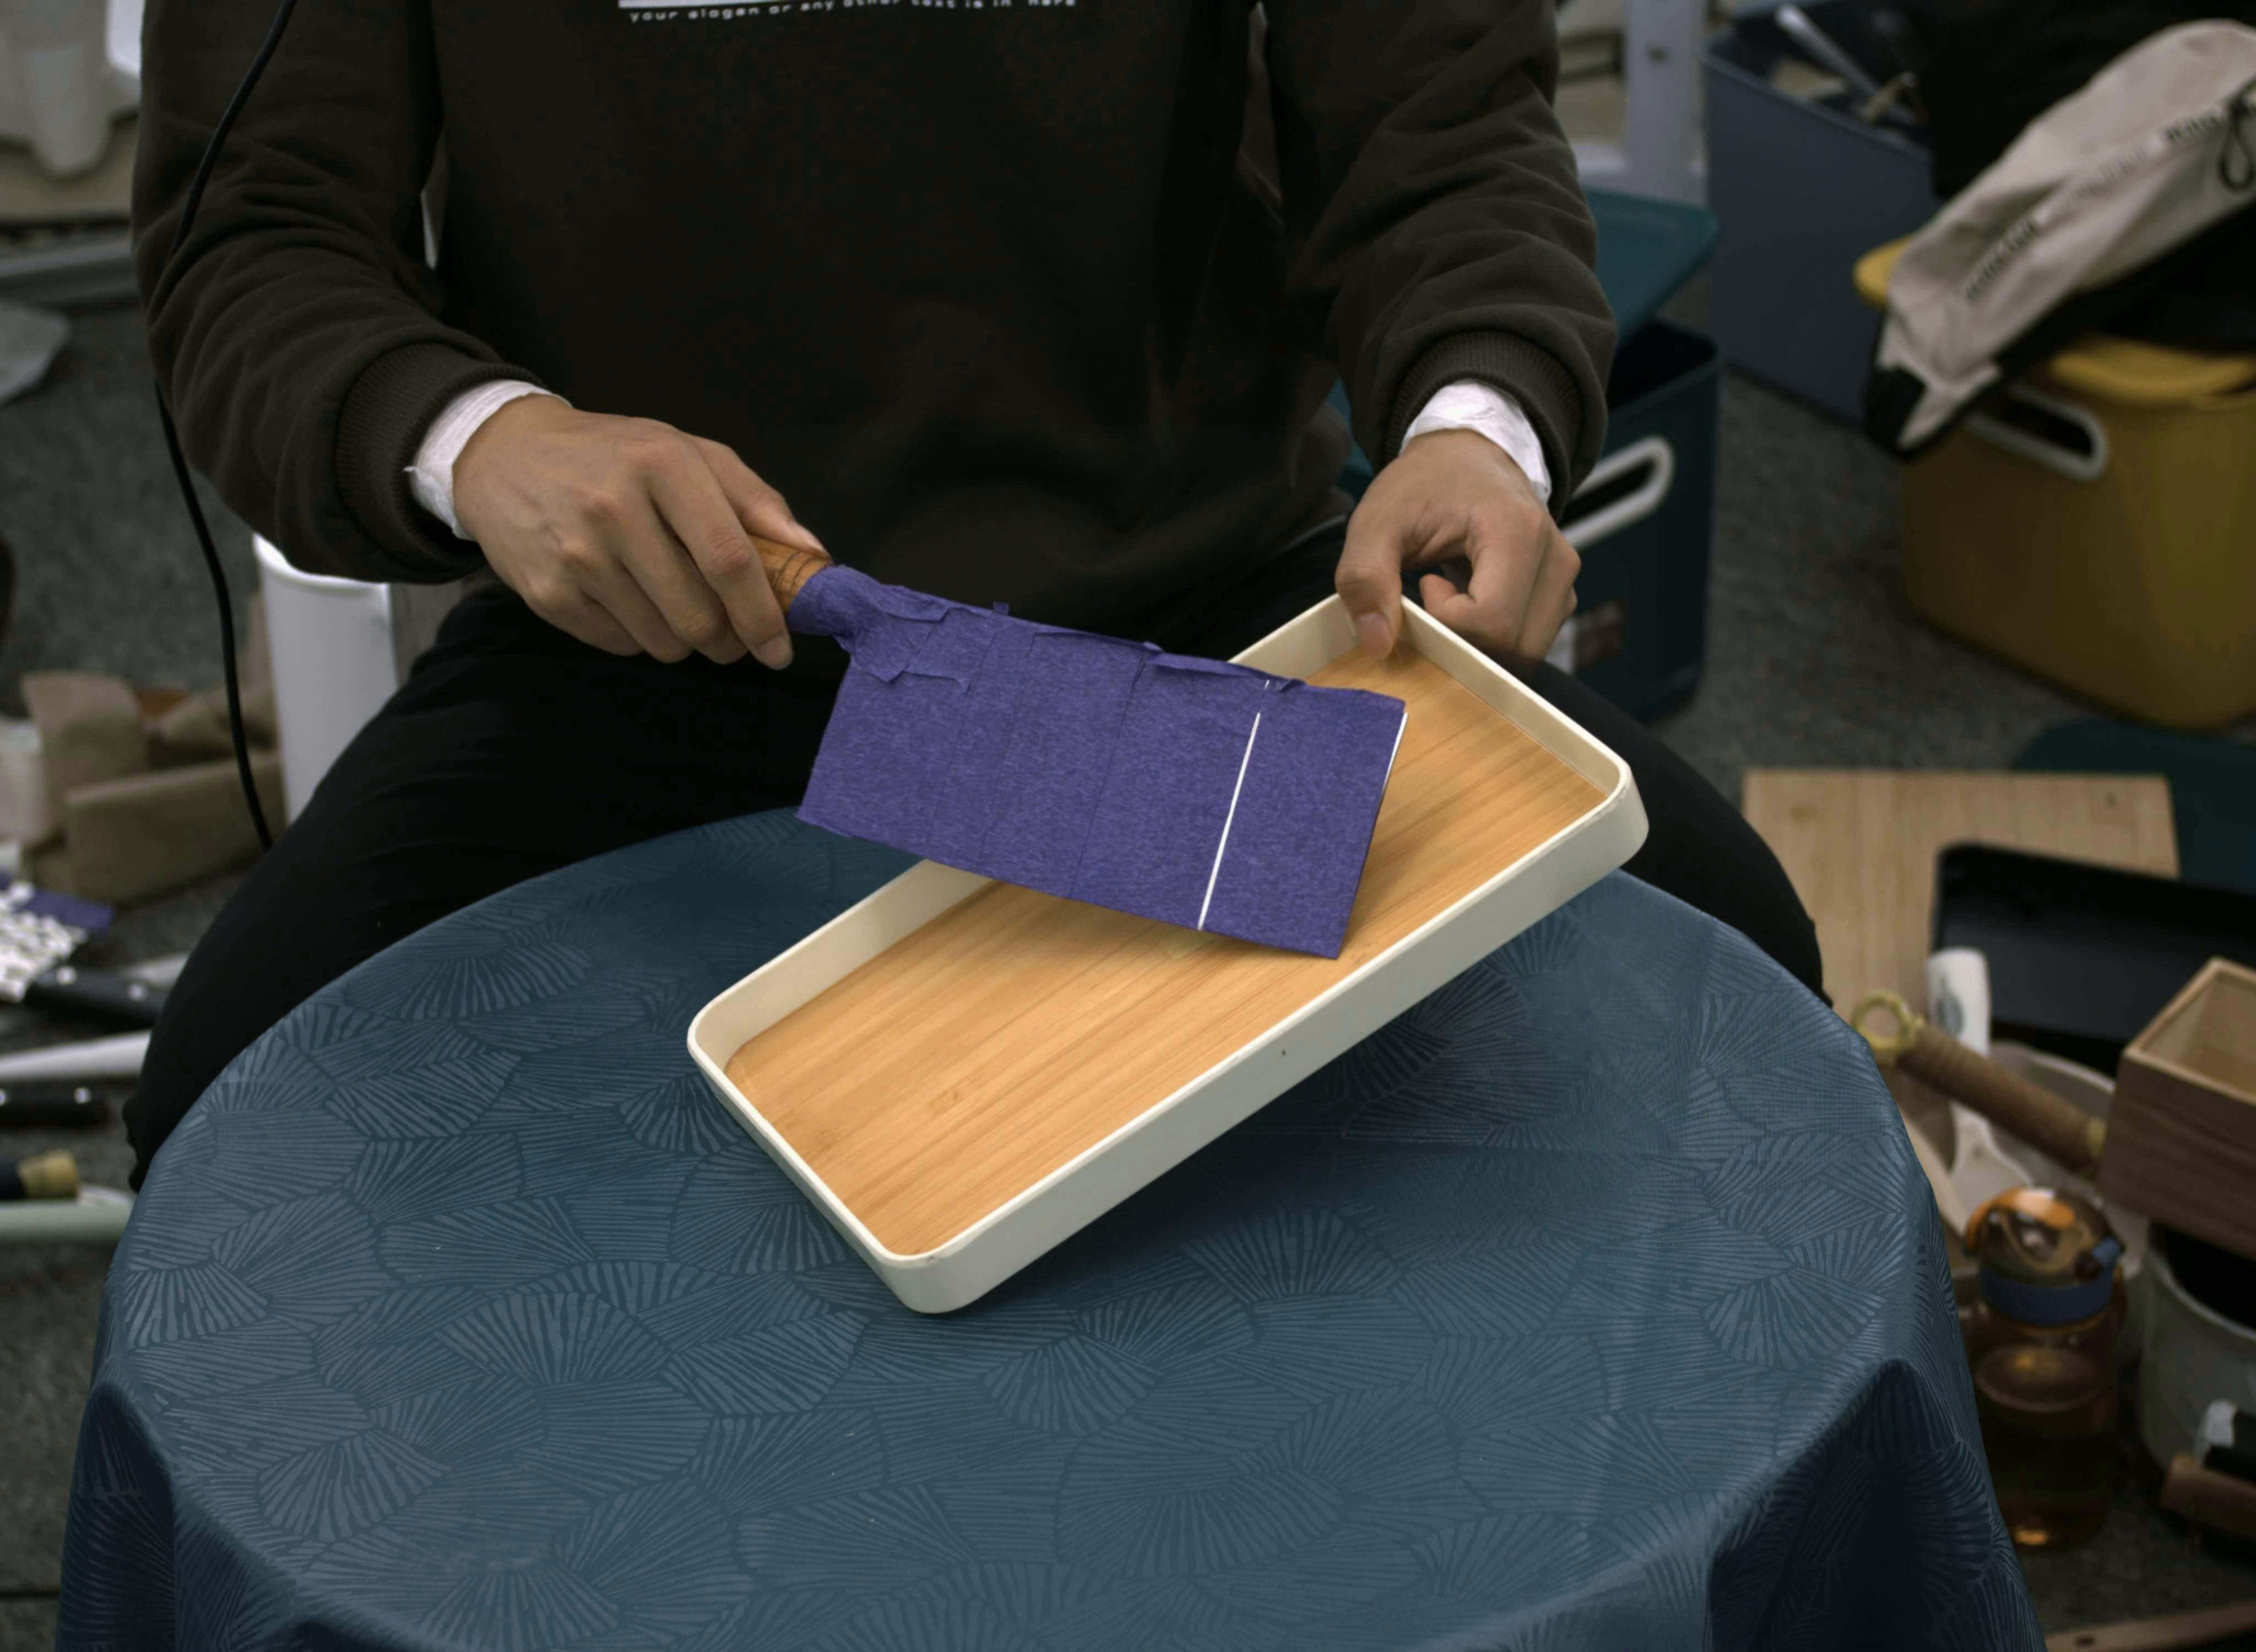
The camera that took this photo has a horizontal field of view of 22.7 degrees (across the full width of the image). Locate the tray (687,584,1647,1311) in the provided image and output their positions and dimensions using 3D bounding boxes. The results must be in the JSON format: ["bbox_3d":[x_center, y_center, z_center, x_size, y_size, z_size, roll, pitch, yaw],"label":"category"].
[{"bbox_3d":[0.011,0.036,1.894,0.302,0.027,0.192,-33,35,-13],"label":"tray"}]

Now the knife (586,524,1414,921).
[{"bbox_3d":[-0.057,-0.035,1.927,0.313,0.105,0.032,12,-15,25],"label":"knife"}]
